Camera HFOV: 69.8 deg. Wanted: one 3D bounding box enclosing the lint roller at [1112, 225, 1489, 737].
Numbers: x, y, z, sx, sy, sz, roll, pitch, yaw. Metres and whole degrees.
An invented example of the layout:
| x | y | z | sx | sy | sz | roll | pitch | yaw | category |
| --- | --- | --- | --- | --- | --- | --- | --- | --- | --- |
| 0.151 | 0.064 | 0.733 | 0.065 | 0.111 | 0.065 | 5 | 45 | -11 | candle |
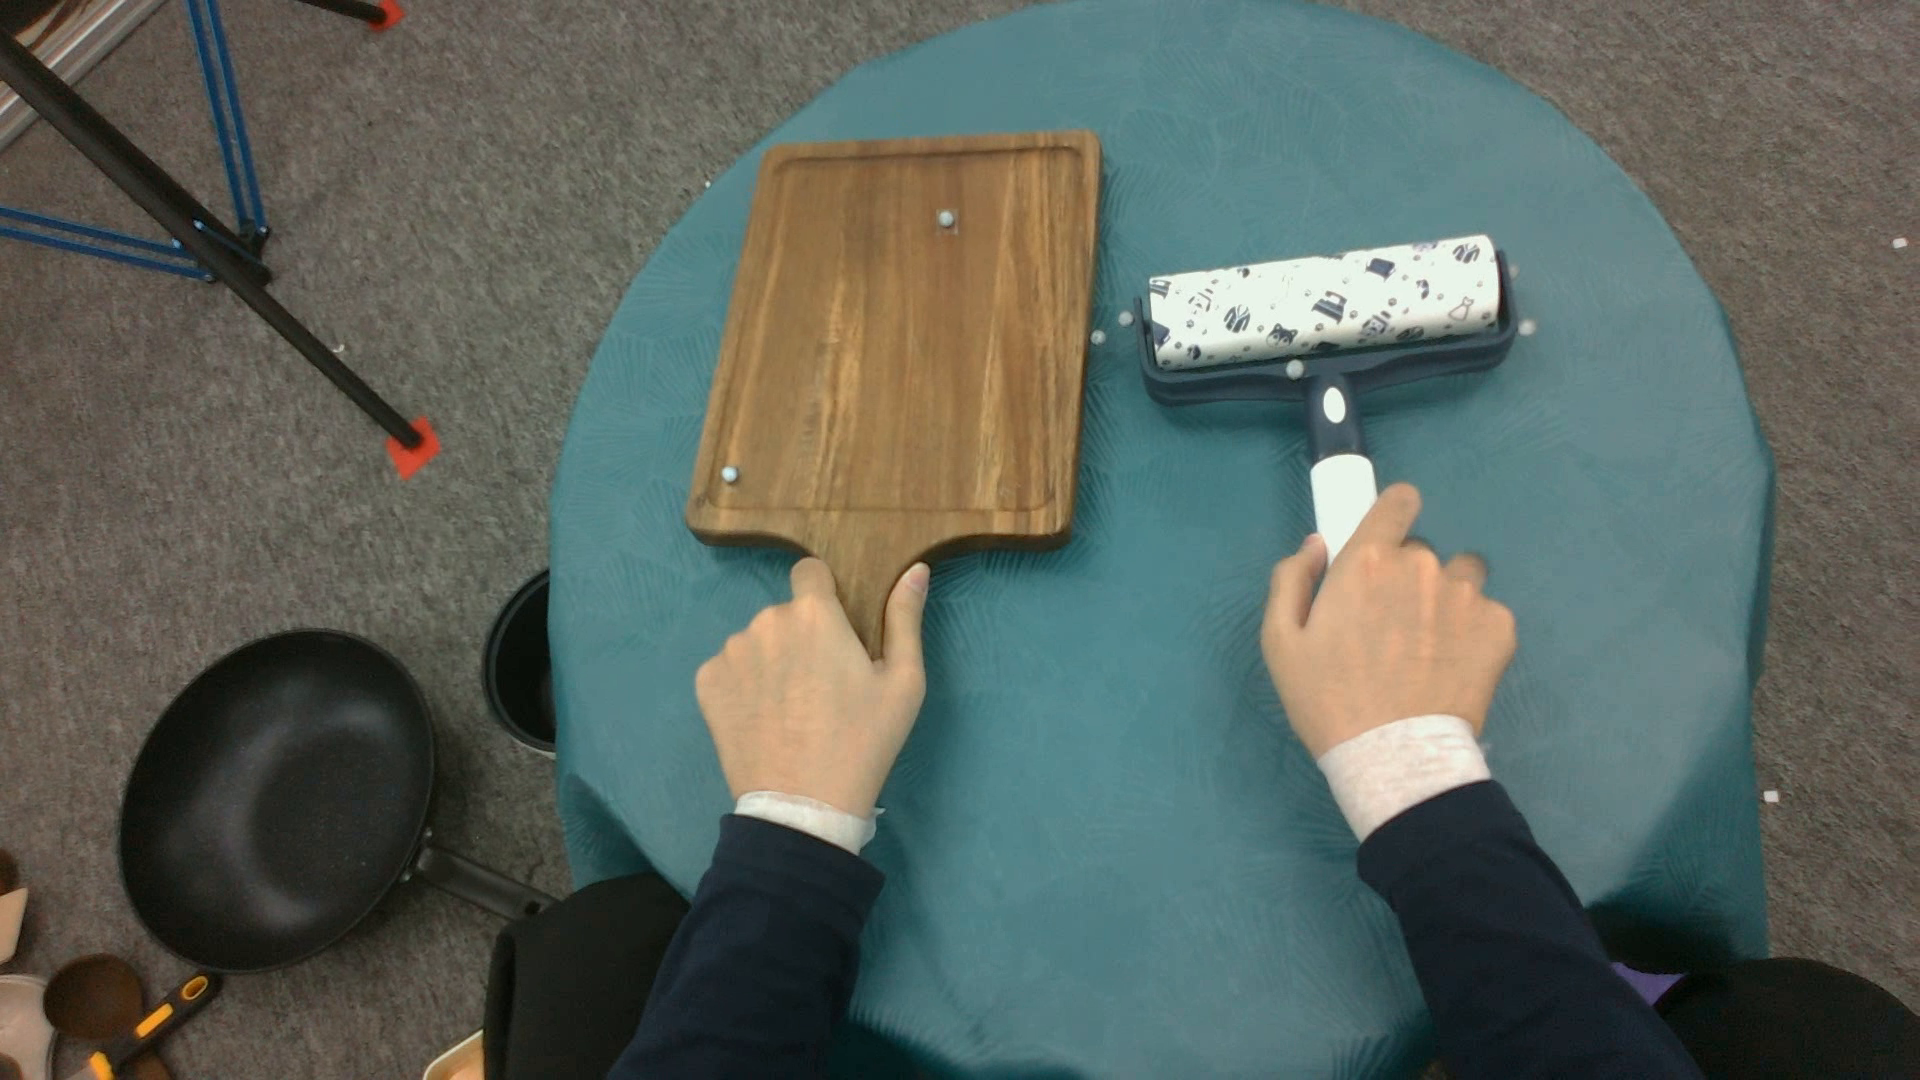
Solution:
| x | y | z | sx | sy | sz | roll | pitch | yaw | category |
| --- | --- | --- | --- | --- | --- | --- | --- | --- | --- |
| 0.169 | -0.033 | 0.634 | 0.176 | 0.050 | 0.248 | -6 | 63 | 7 | lint roller |

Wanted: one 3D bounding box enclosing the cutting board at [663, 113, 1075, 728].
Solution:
| x | y | z | sx | sy | sz | roll | pitch | yaw | category |
| --- | --- | --- | --- | --- | --- | --- | --- | --- | --- |
| -0.046 | -0.075 | 0.703 | 0.201 | 0.023 | 0.353 | 0 | 63 | 11 | cutting board |
